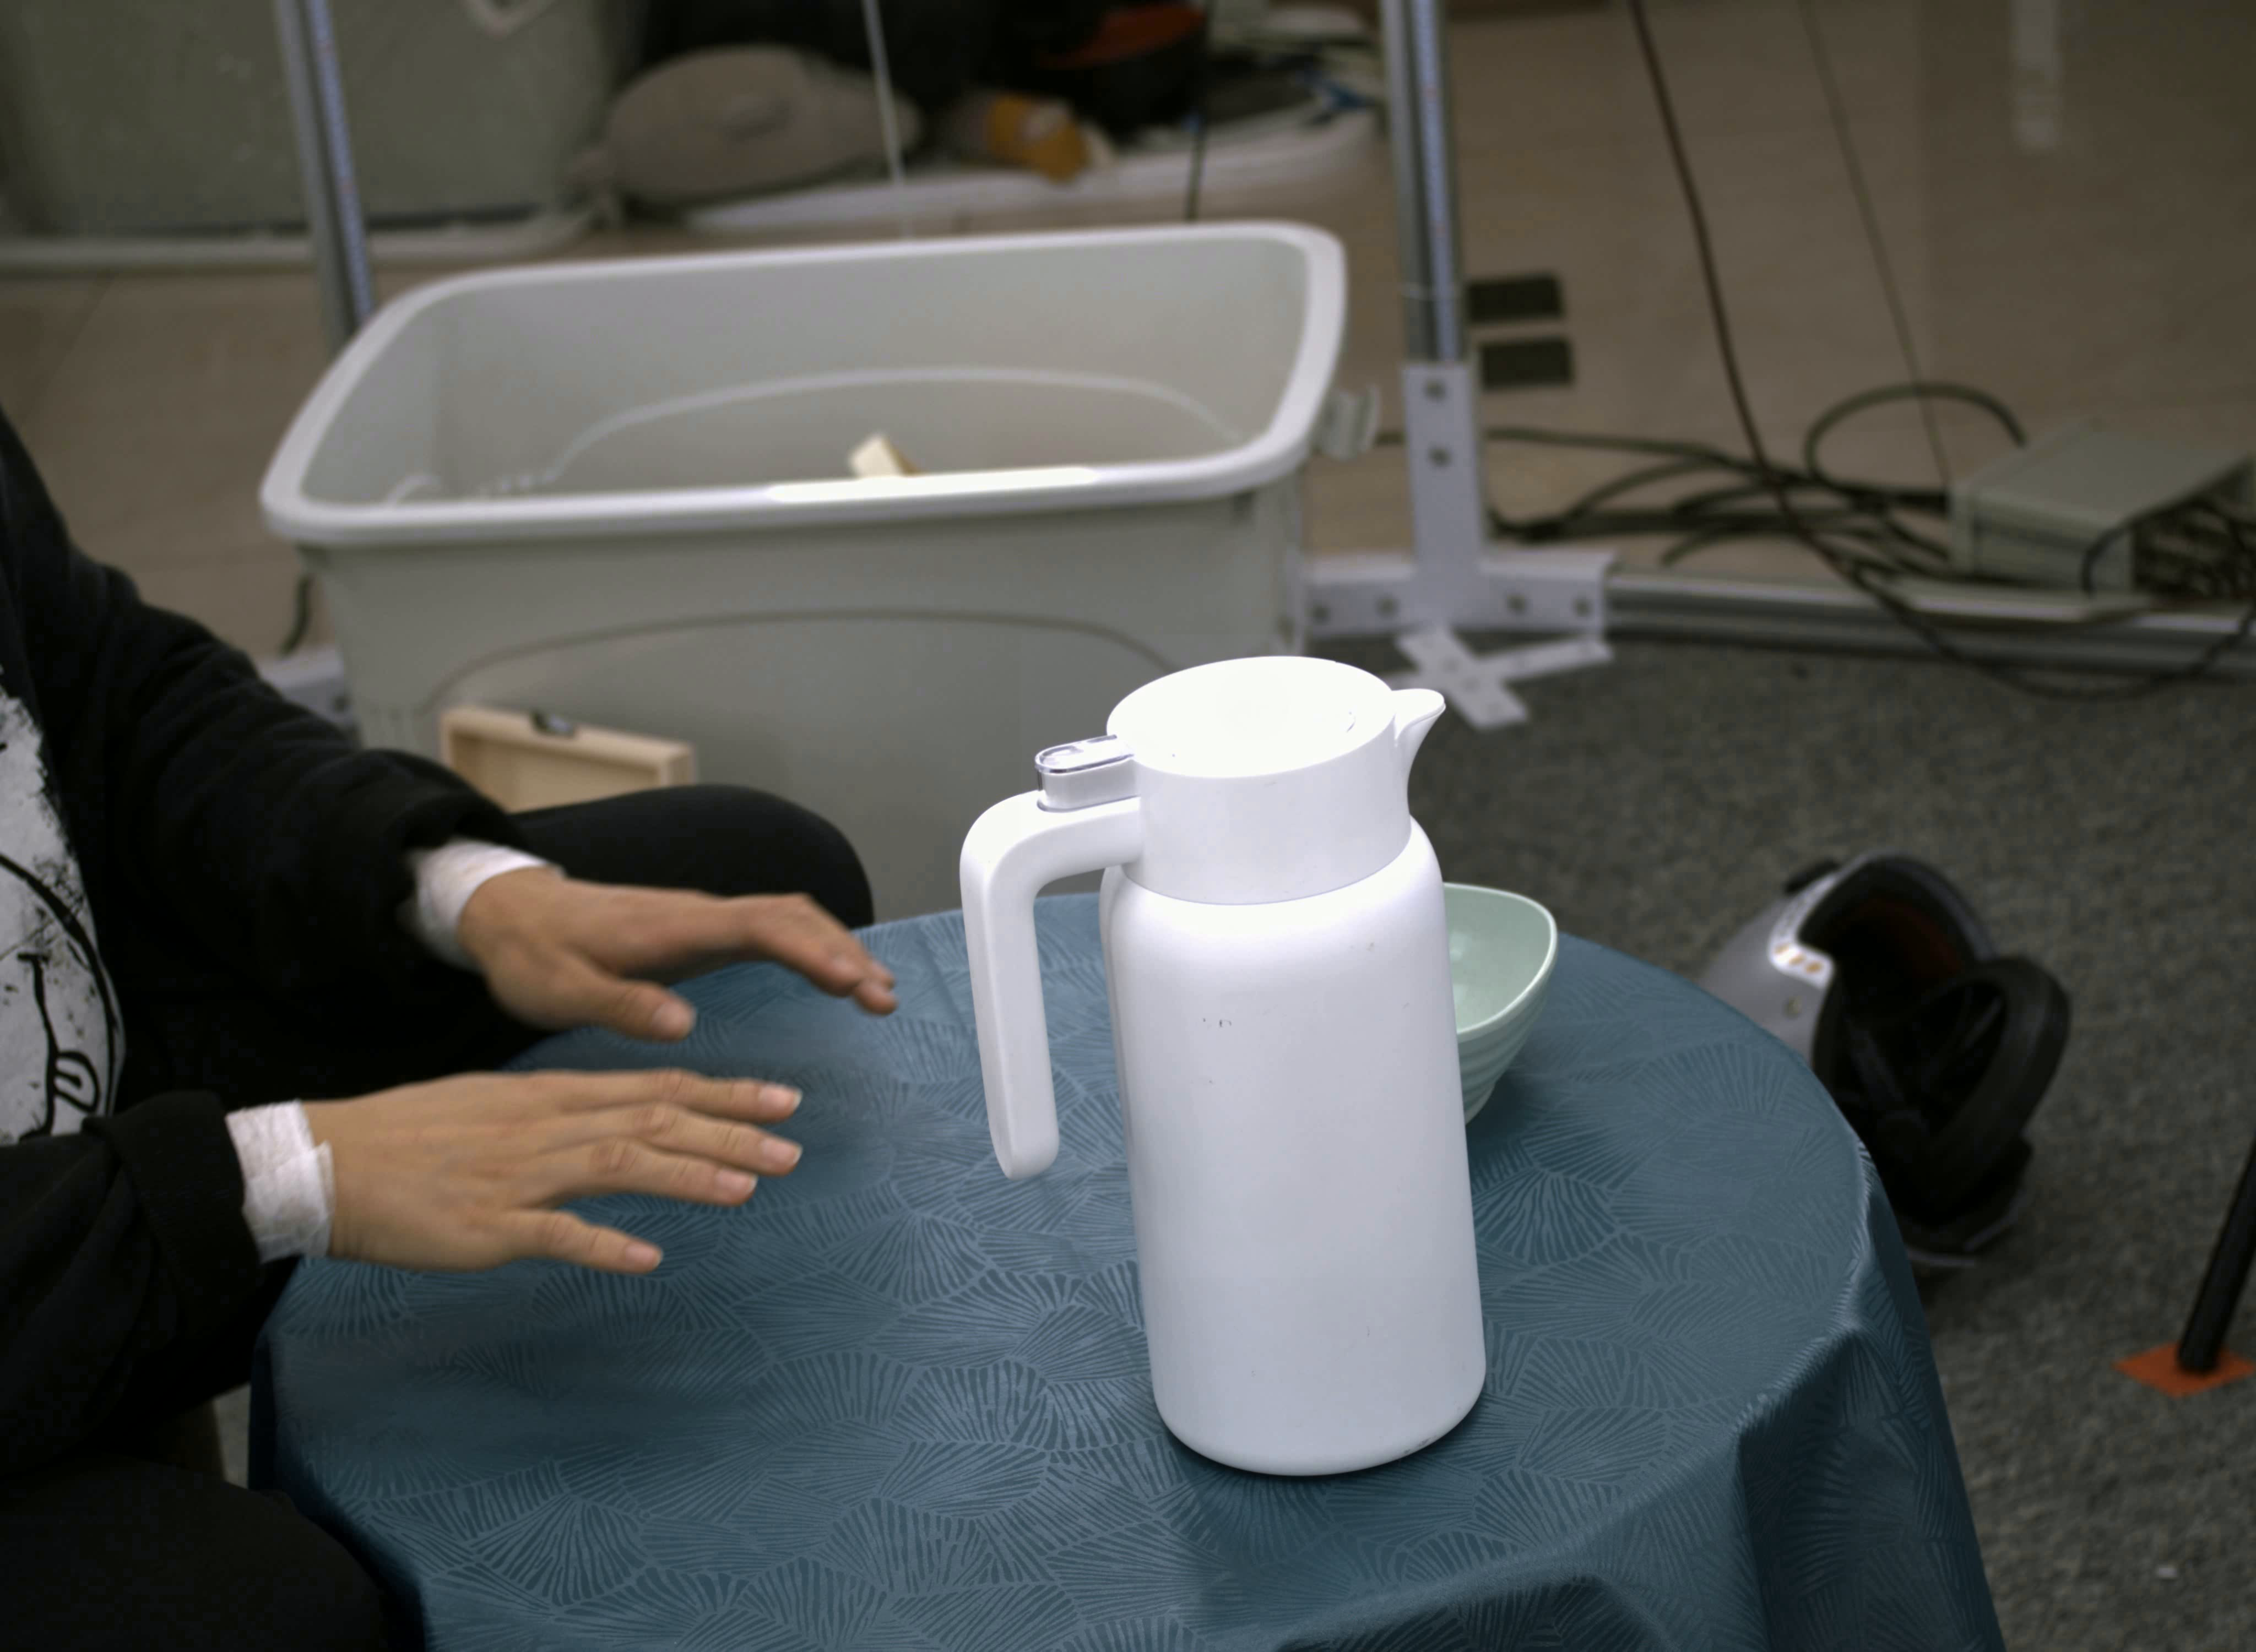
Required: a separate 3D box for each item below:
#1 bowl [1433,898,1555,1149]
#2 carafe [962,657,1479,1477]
[{"bbox_3d":[0.098,0.083,2.191,0.151,0.059,0.149,-8,25,4],"label":"bowl"},{"bbox_3d":[0.038,0.087,1.933,0.172,0.273,0.122,-14,29,-15],"label":"carafe"}]
